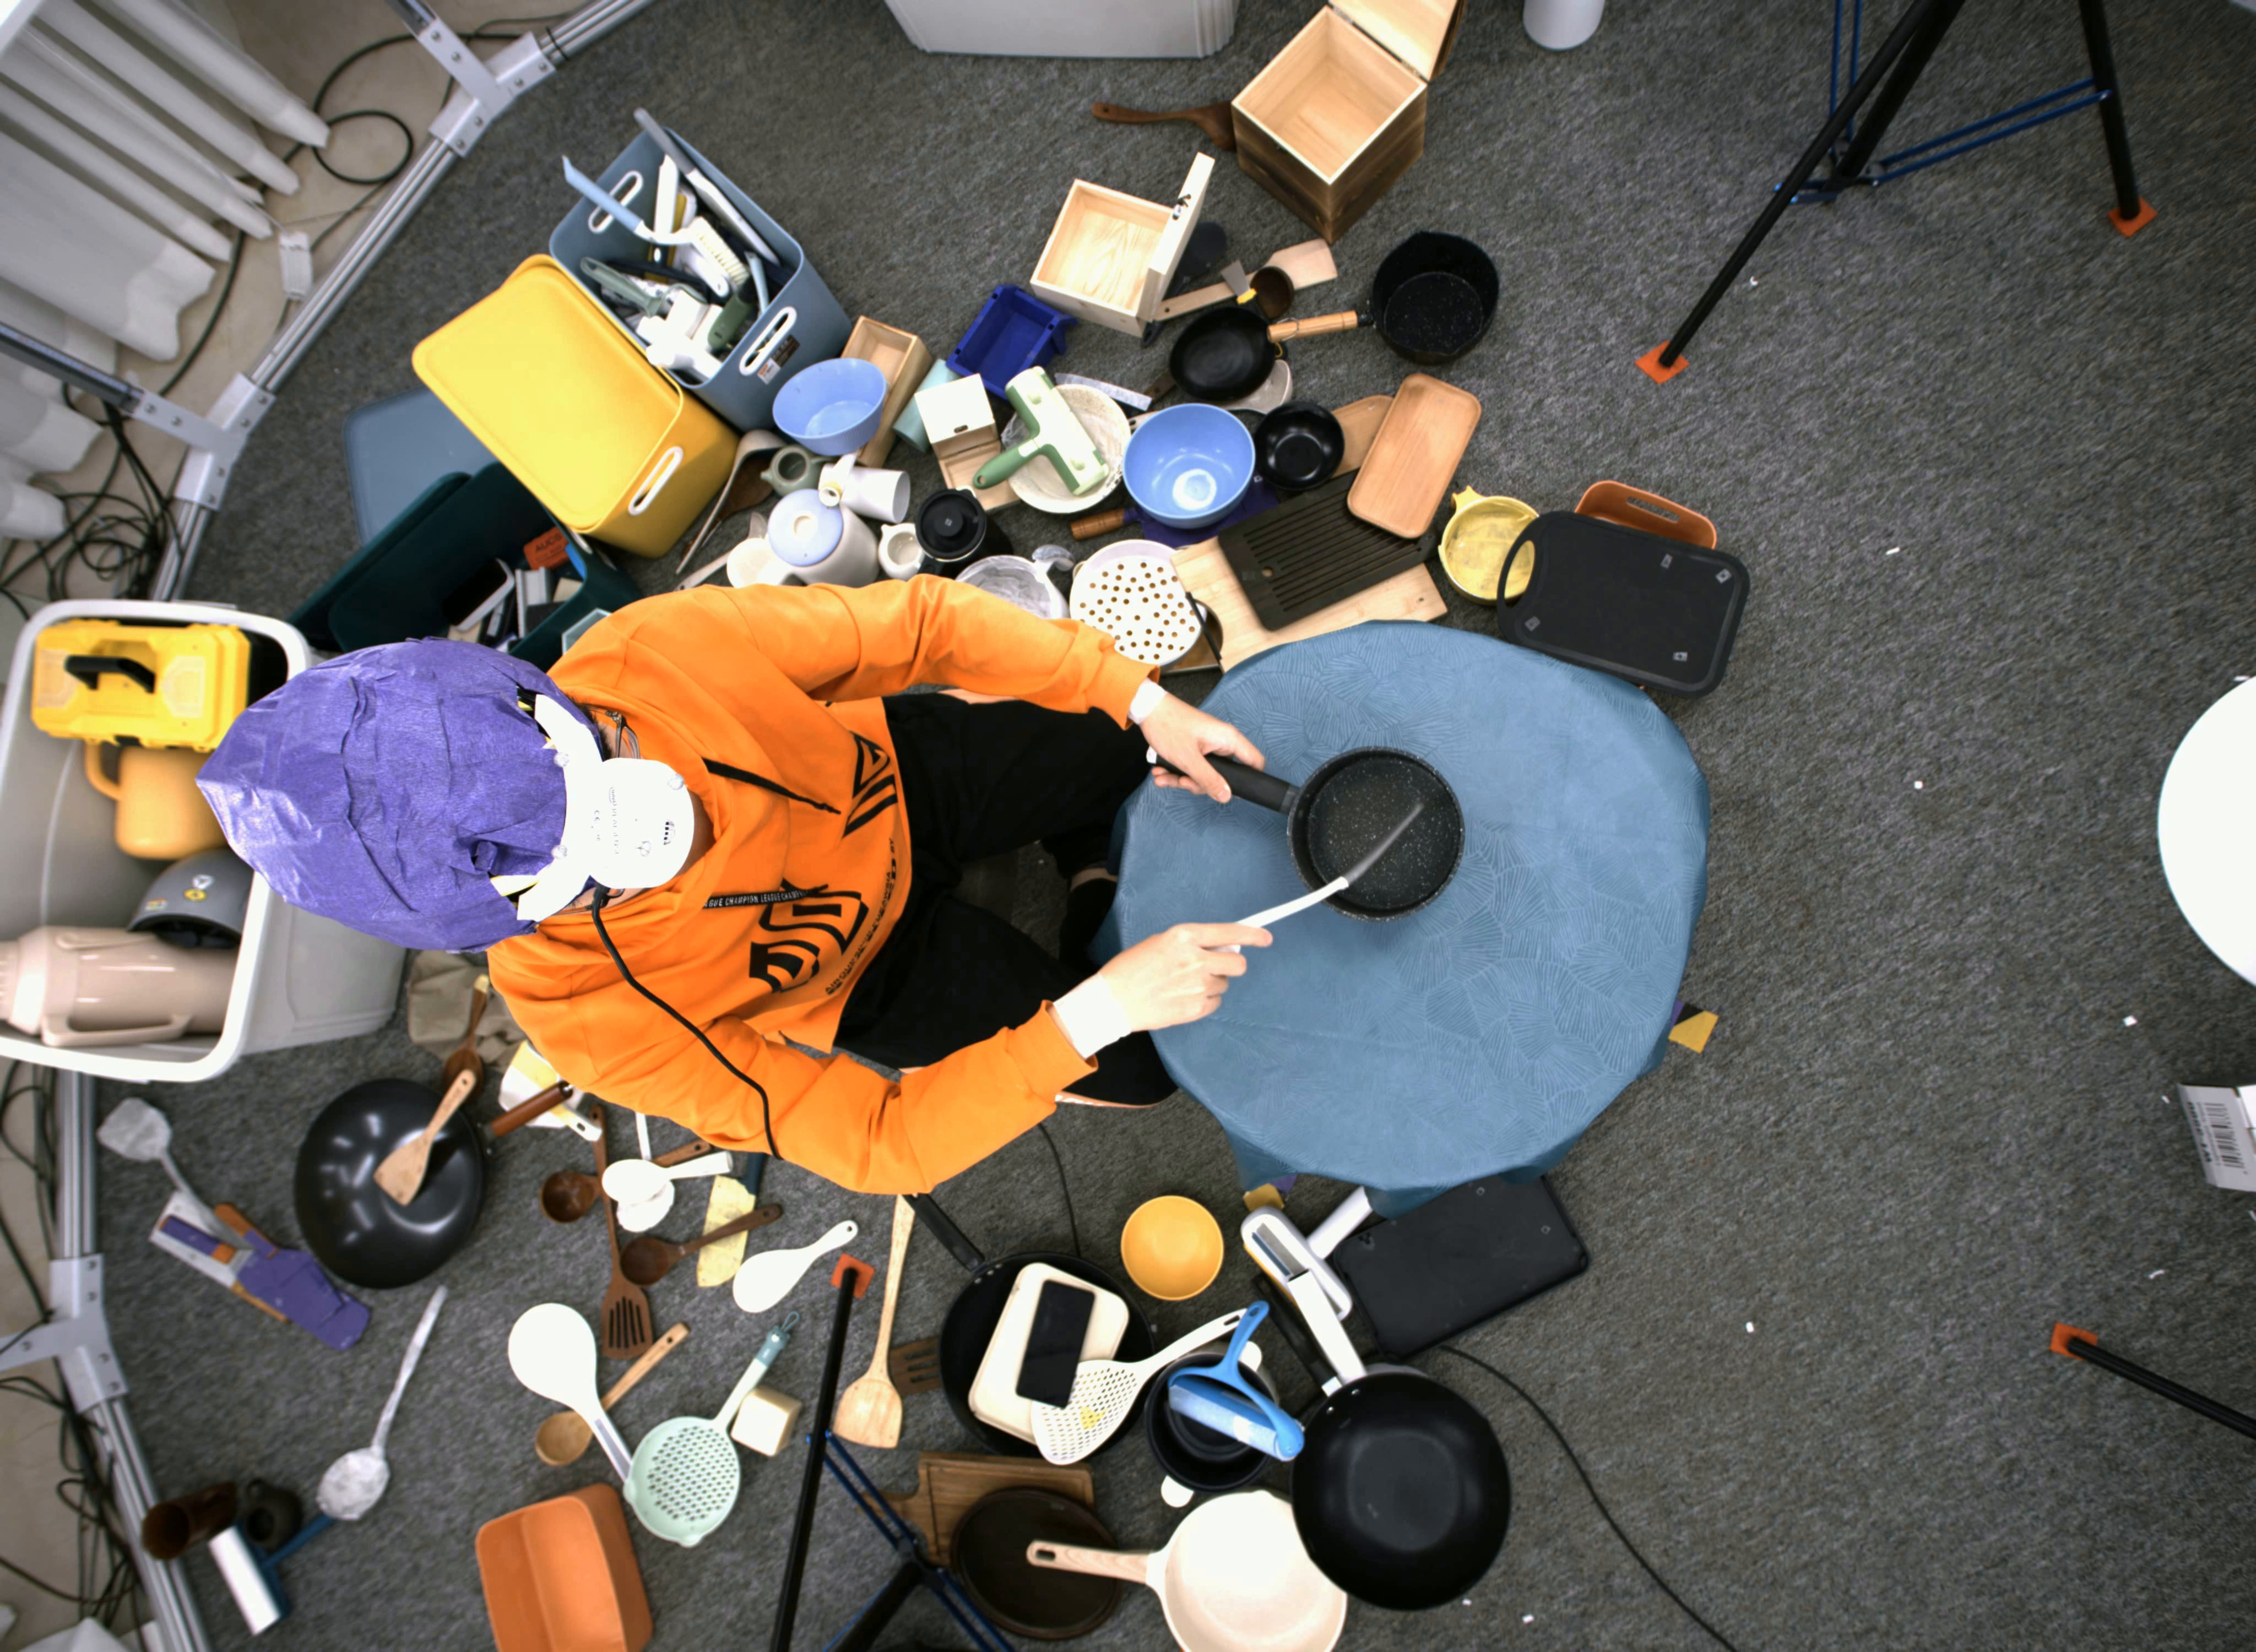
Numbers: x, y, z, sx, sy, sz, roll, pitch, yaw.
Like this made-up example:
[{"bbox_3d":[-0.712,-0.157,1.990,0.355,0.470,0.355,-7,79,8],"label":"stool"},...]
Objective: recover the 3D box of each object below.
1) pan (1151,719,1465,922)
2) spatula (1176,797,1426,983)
[{"bbox_3d":[0.179,-0.025,1.390,0.328,0.086,0.173,25,98,13],"label":"pan"},{"bbox_3d":[0.169,0.057,1.299,0.285,0.059,0.032,-32,80,-13],"label":"spatula"}]
